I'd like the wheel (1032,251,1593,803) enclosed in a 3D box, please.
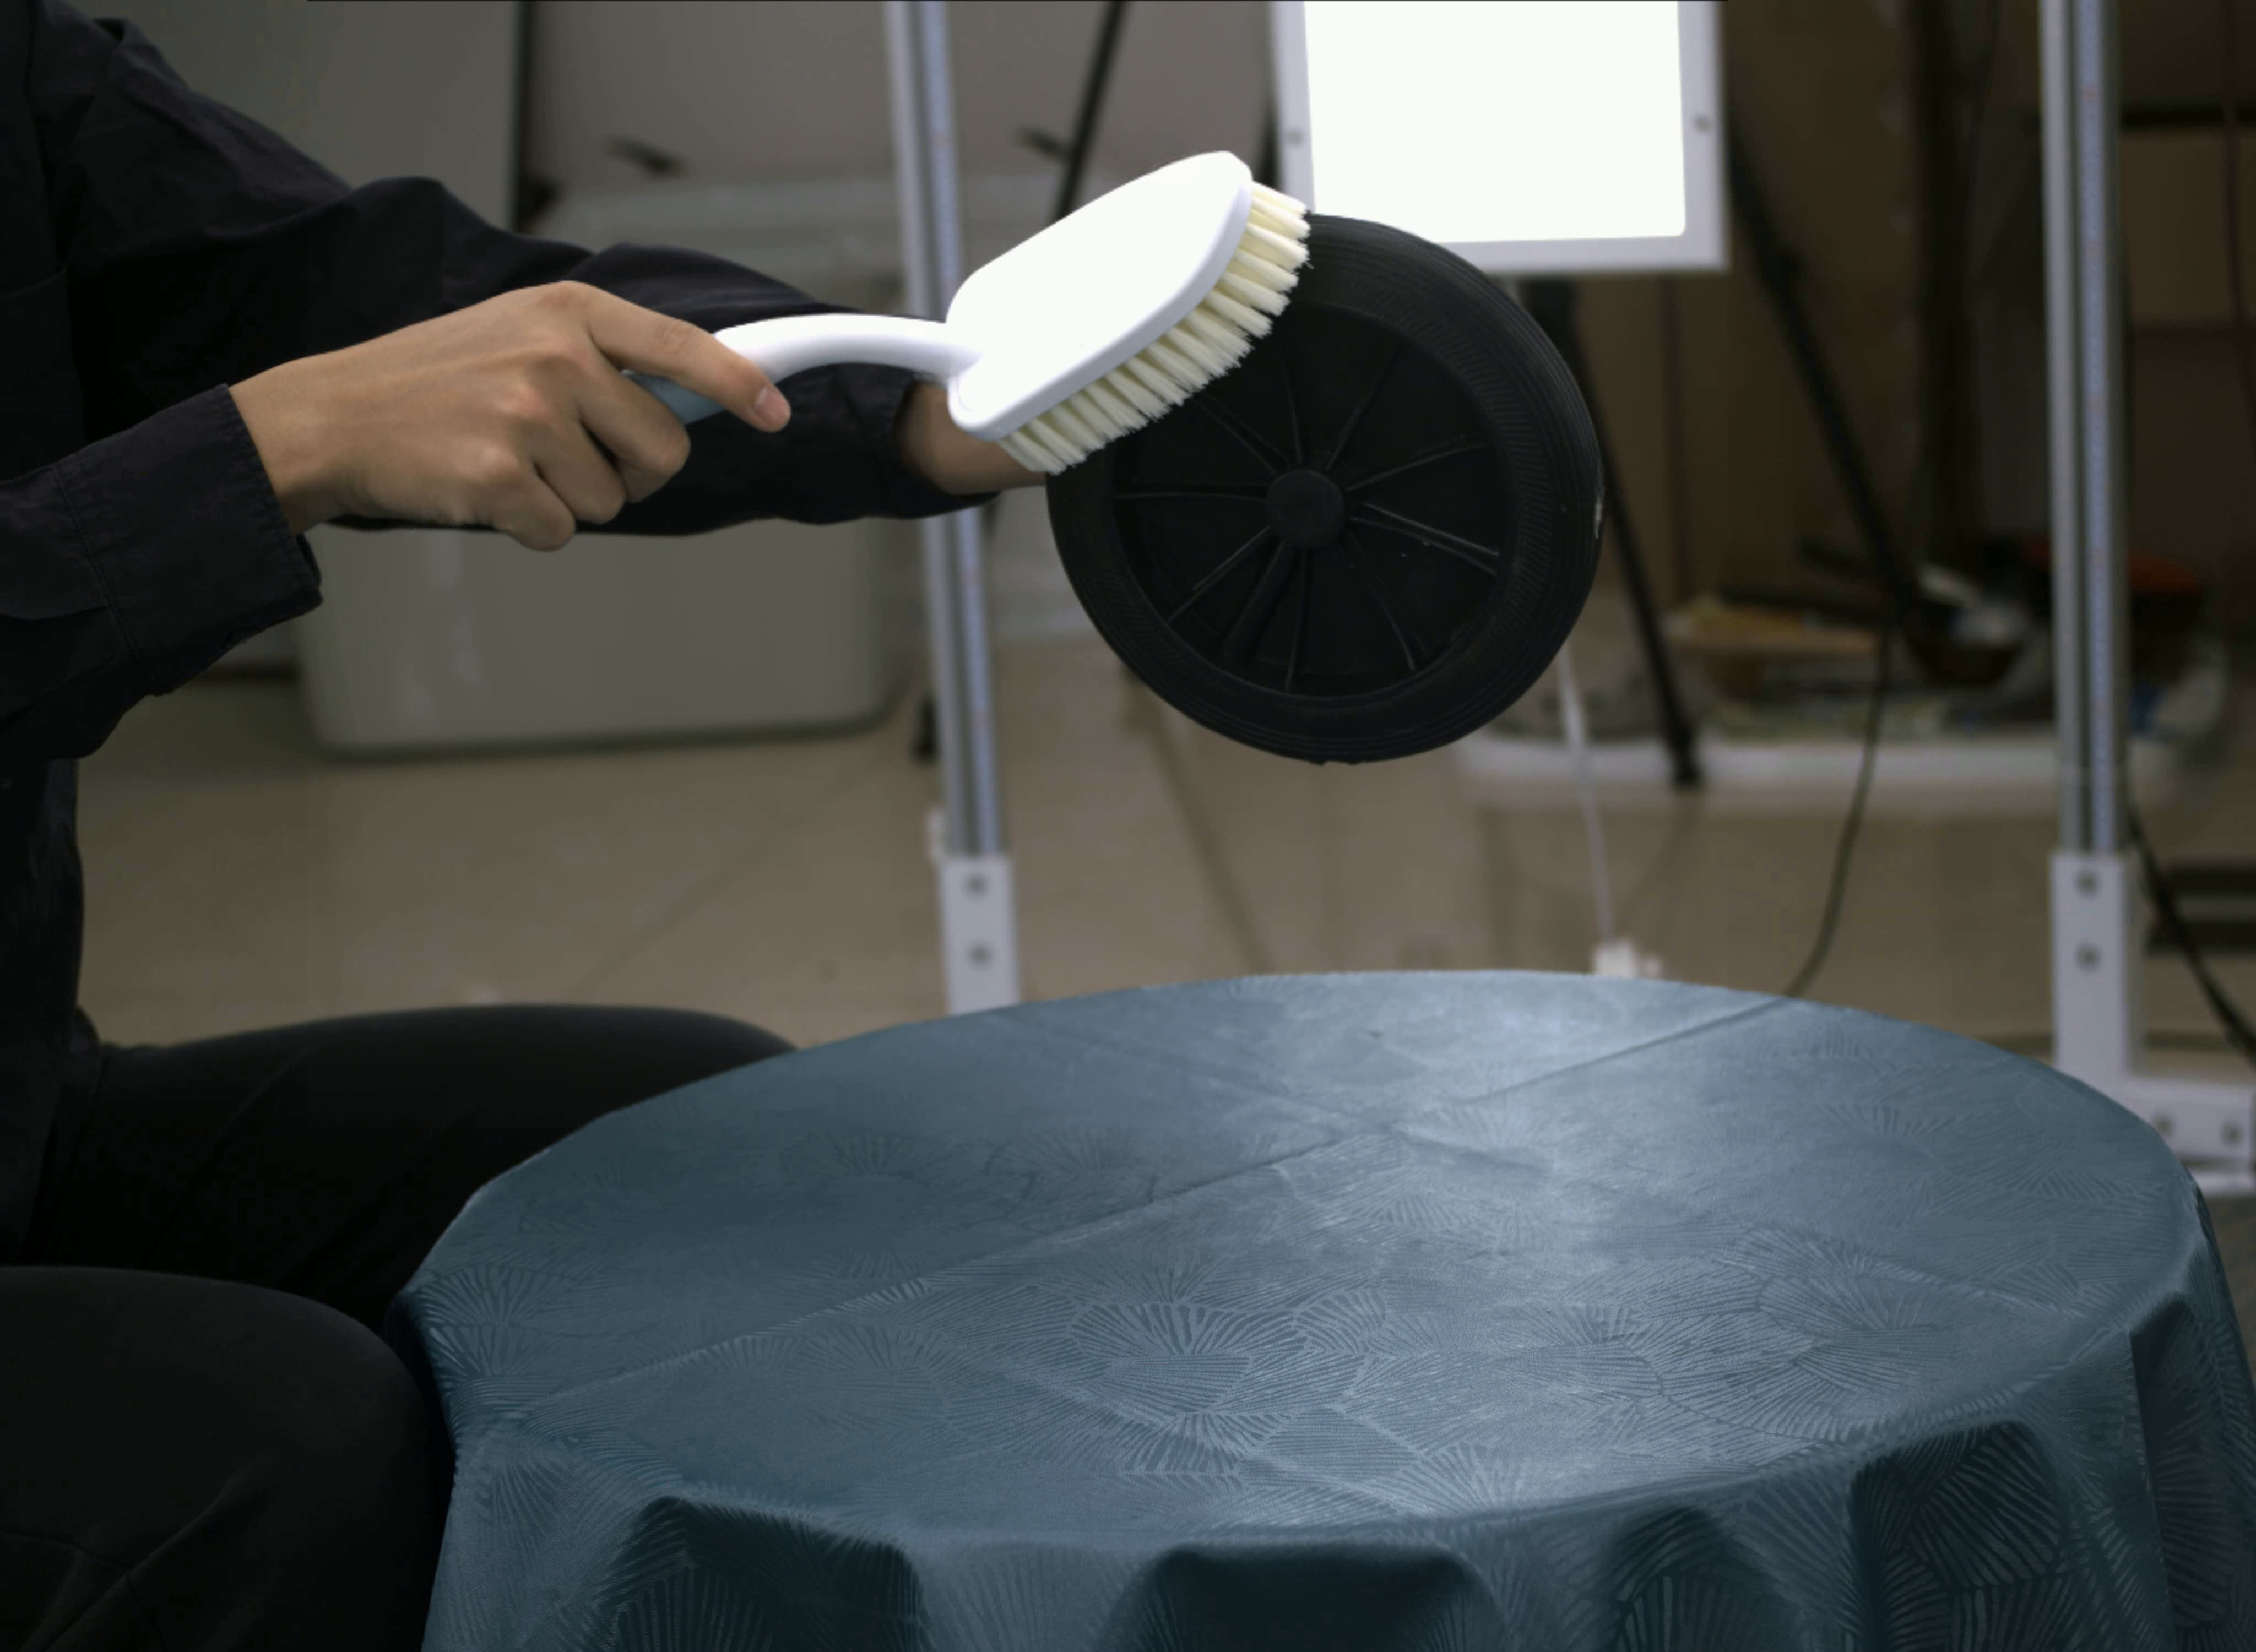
[{"bbox_3d":[0.067,-0.106,1.829,0.190,0.190,0.078,31,31,4],"label":"wheel"}]

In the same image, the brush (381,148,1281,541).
[{"bbox_3d":[-0.093,-0.142,1.797,0.330,0.084,0.082,-19,17,22],"label":"brush"}]
